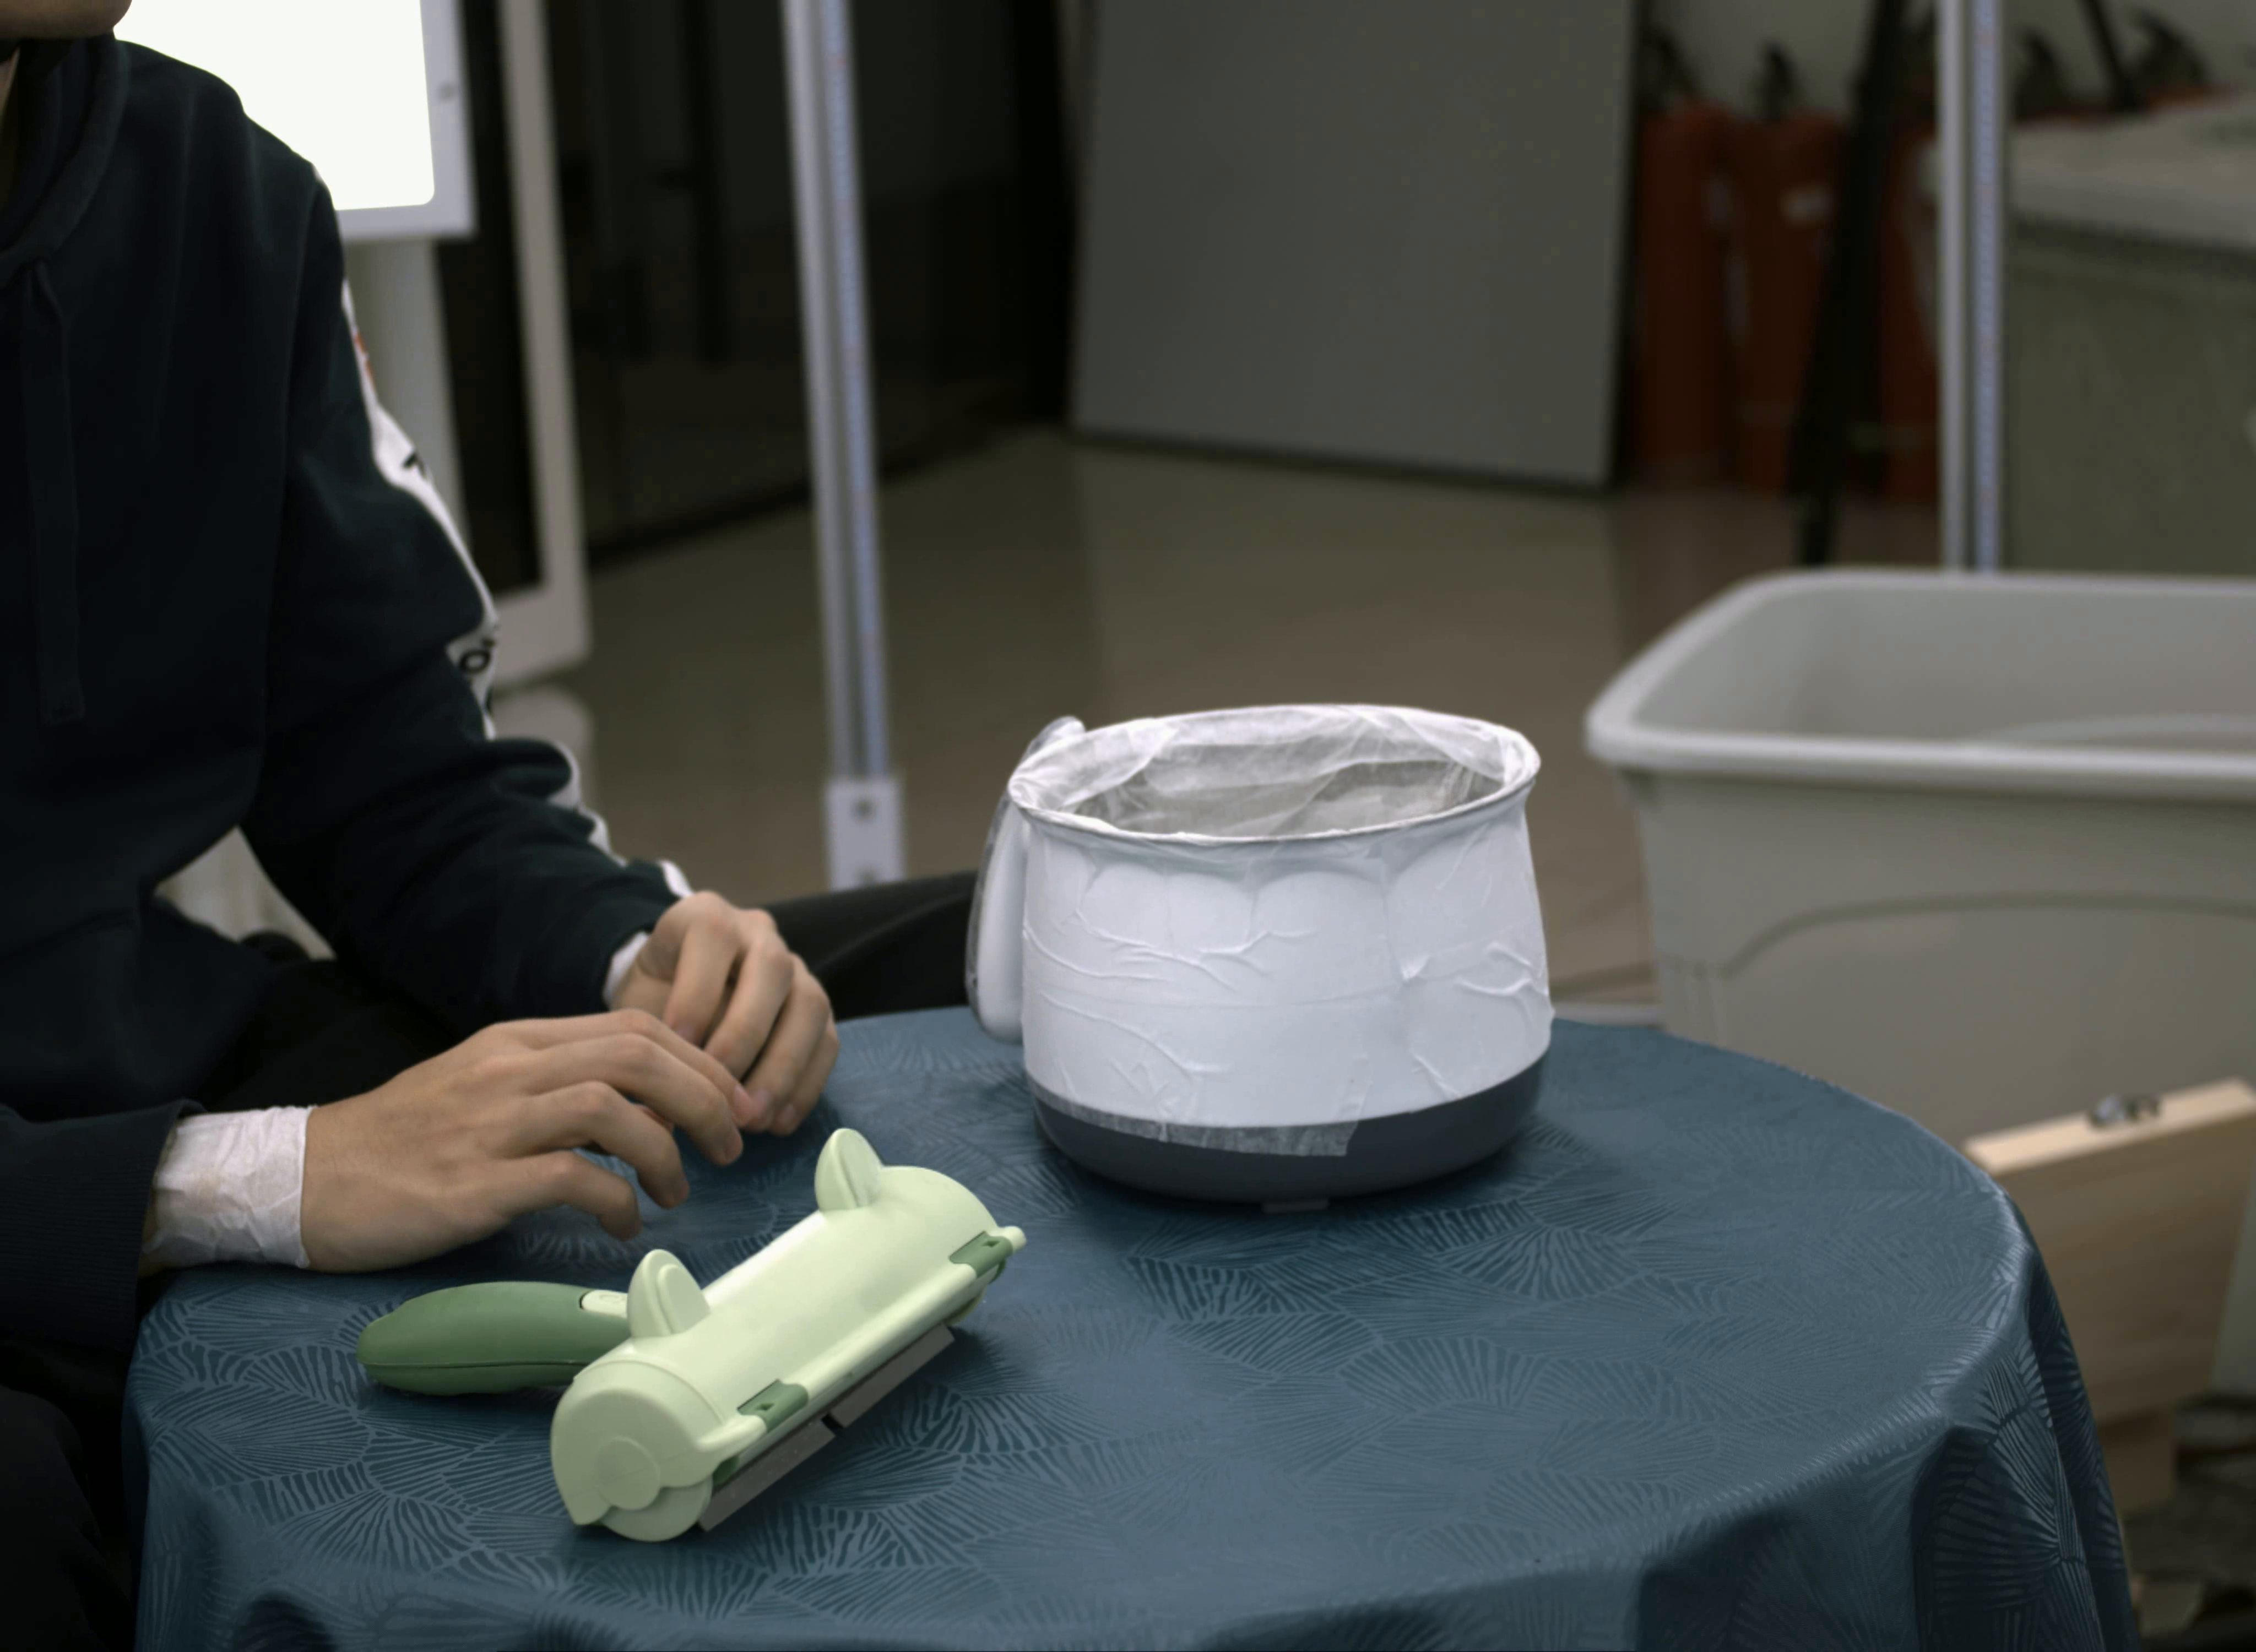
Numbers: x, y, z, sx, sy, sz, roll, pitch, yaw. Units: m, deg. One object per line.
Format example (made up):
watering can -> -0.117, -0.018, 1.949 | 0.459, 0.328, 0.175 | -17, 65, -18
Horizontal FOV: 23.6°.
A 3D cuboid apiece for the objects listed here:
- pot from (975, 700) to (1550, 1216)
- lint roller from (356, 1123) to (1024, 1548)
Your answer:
pot -> 0.033, 0.038, 1.808 | 0.175, 0.138, 0.236 | -15, 19, -42
lint roller -> -0.149, 0.138, 1.592 | 0.183, 0.083, 0.196 | 8, 18, 24
